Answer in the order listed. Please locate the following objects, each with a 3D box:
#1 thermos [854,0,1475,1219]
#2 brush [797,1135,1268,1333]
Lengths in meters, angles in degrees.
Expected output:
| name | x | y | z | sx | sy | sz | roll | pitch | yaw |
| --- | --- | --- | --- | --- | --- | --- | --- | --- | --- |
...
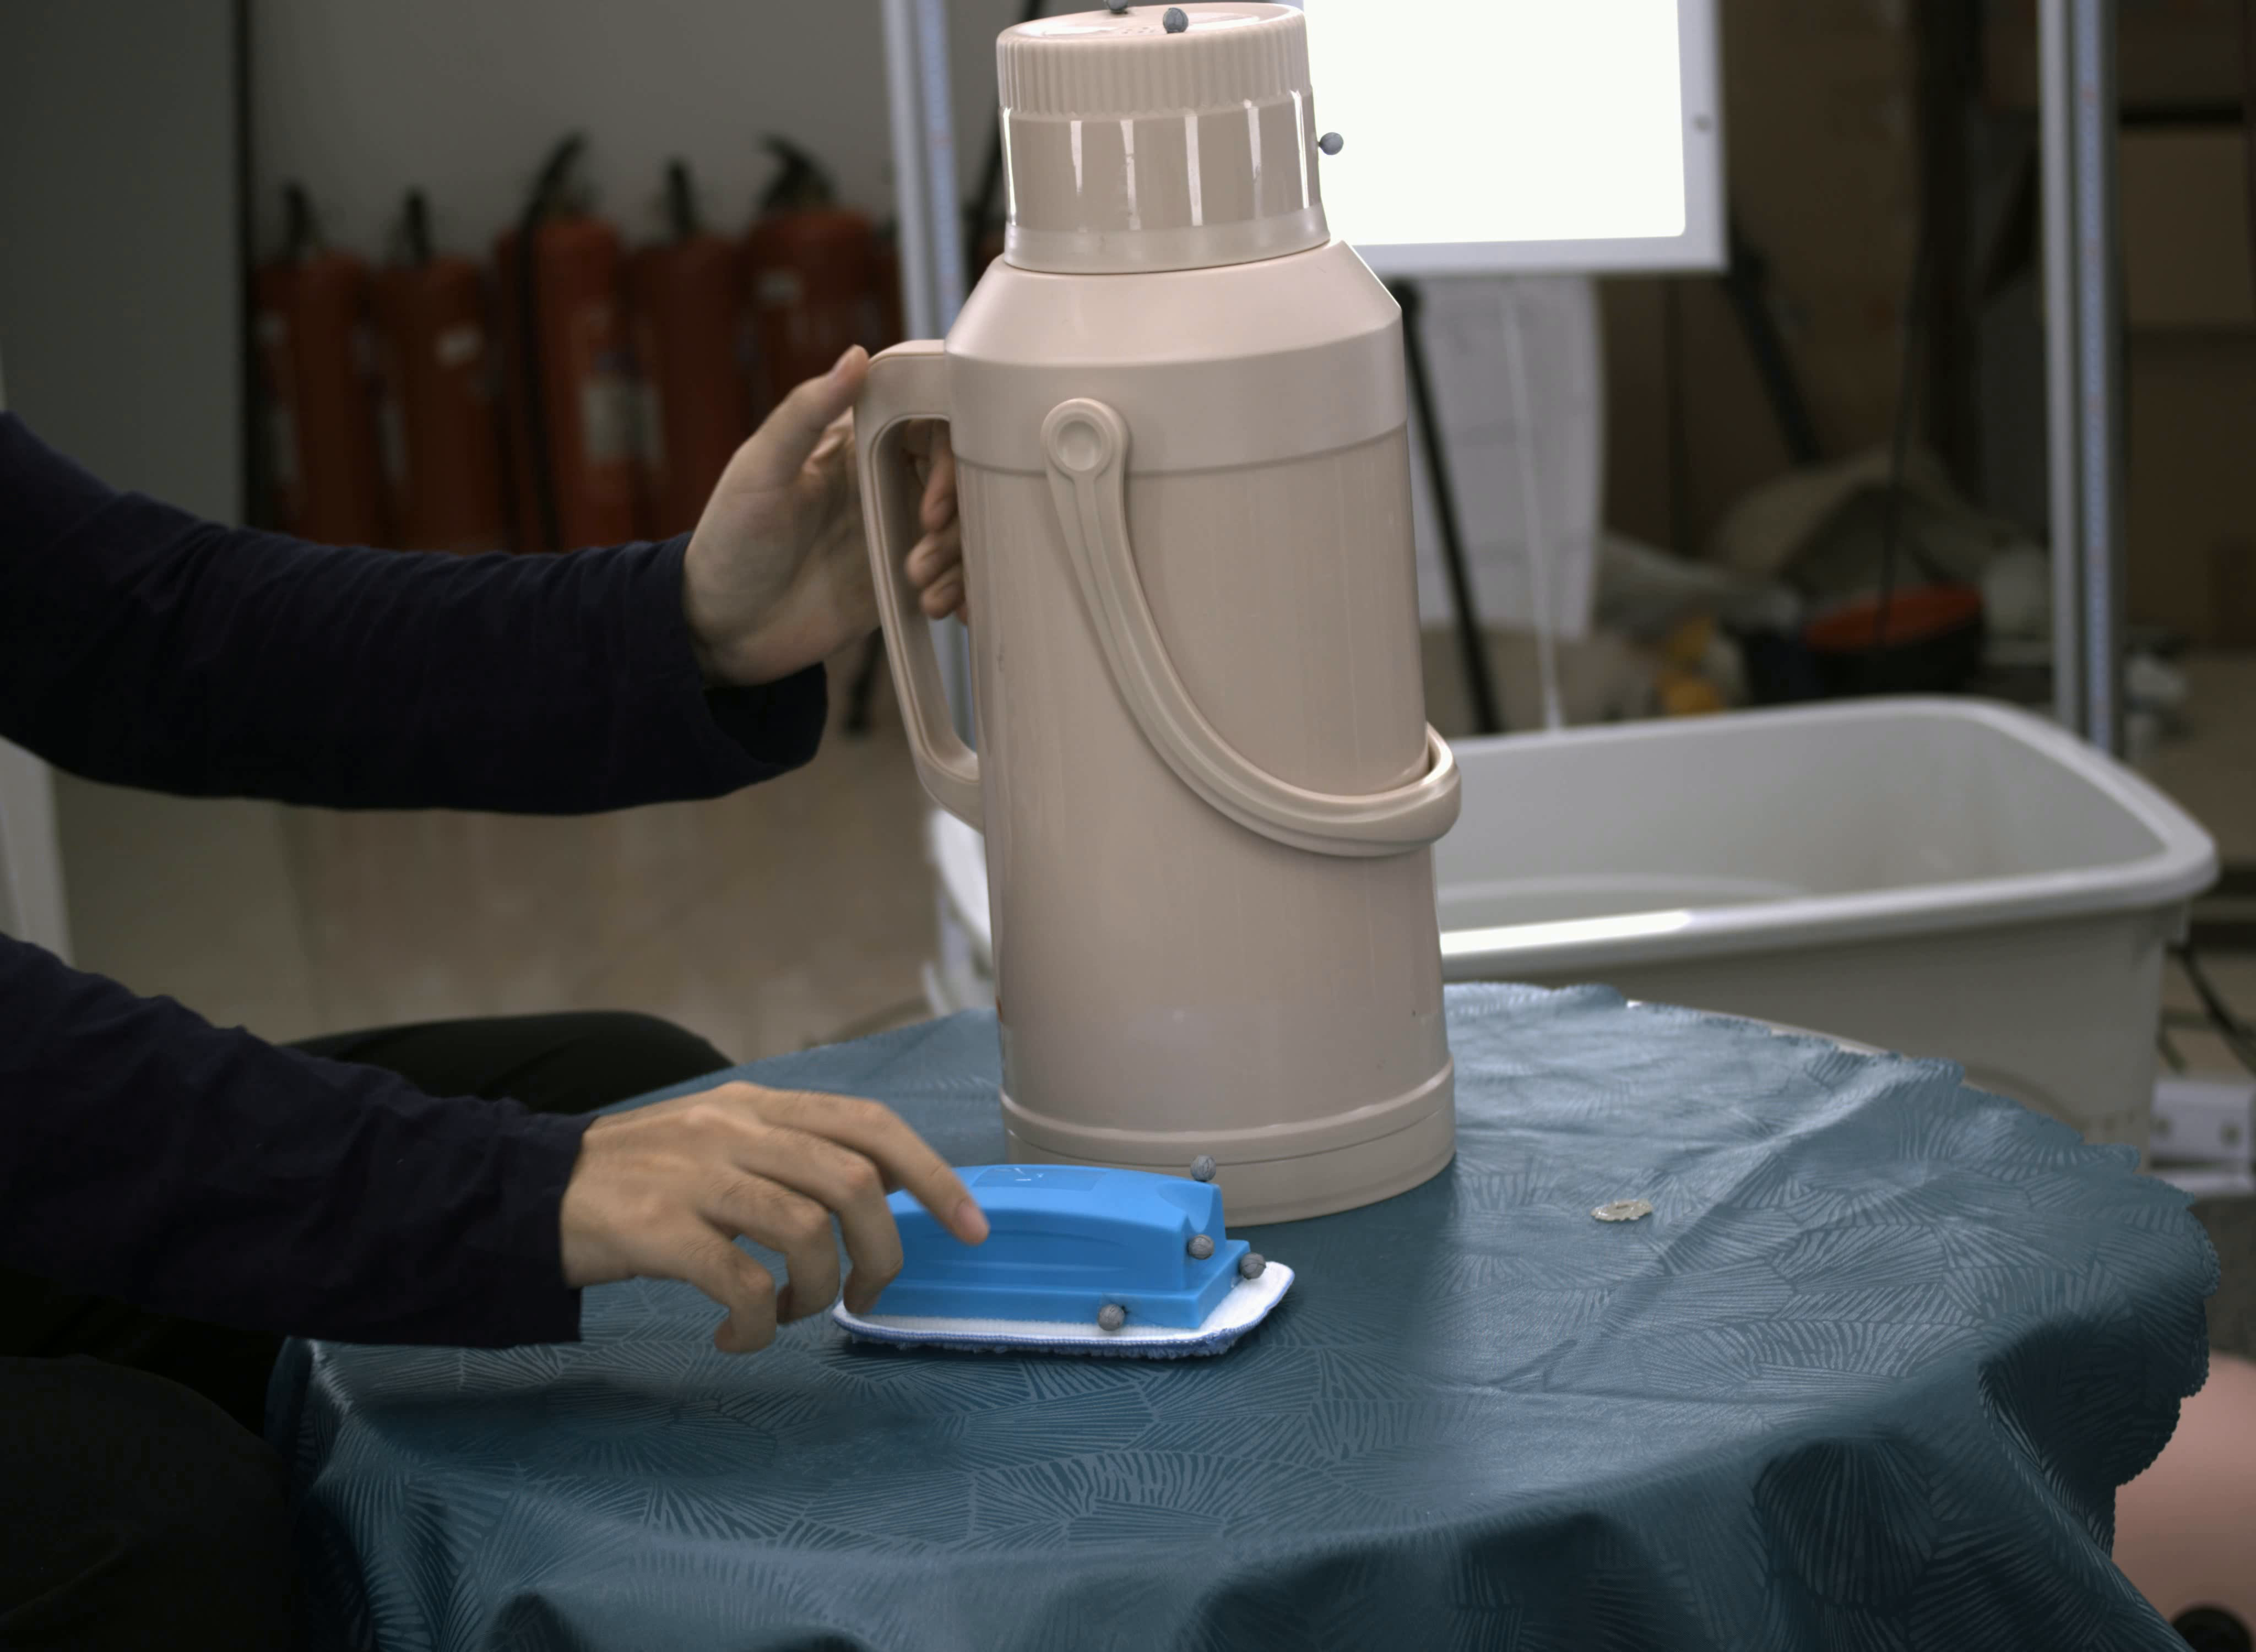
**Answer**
| name | x | y | z | sx | sy | sz | roll | pitch | yaw |
| --- | --- | --- | --- | --- | --- | --- | --- | --- | --- |
| thermos | 0.012 | -0.077 | 1.888 | 0.210 | 0.408 | 0.172 | 0 | 16 | 23 |
| brush | -0.030 | 0.130 | 1.766 | 0.146 | 0.056 | 0.082 | 4 | 13 | 24 |
